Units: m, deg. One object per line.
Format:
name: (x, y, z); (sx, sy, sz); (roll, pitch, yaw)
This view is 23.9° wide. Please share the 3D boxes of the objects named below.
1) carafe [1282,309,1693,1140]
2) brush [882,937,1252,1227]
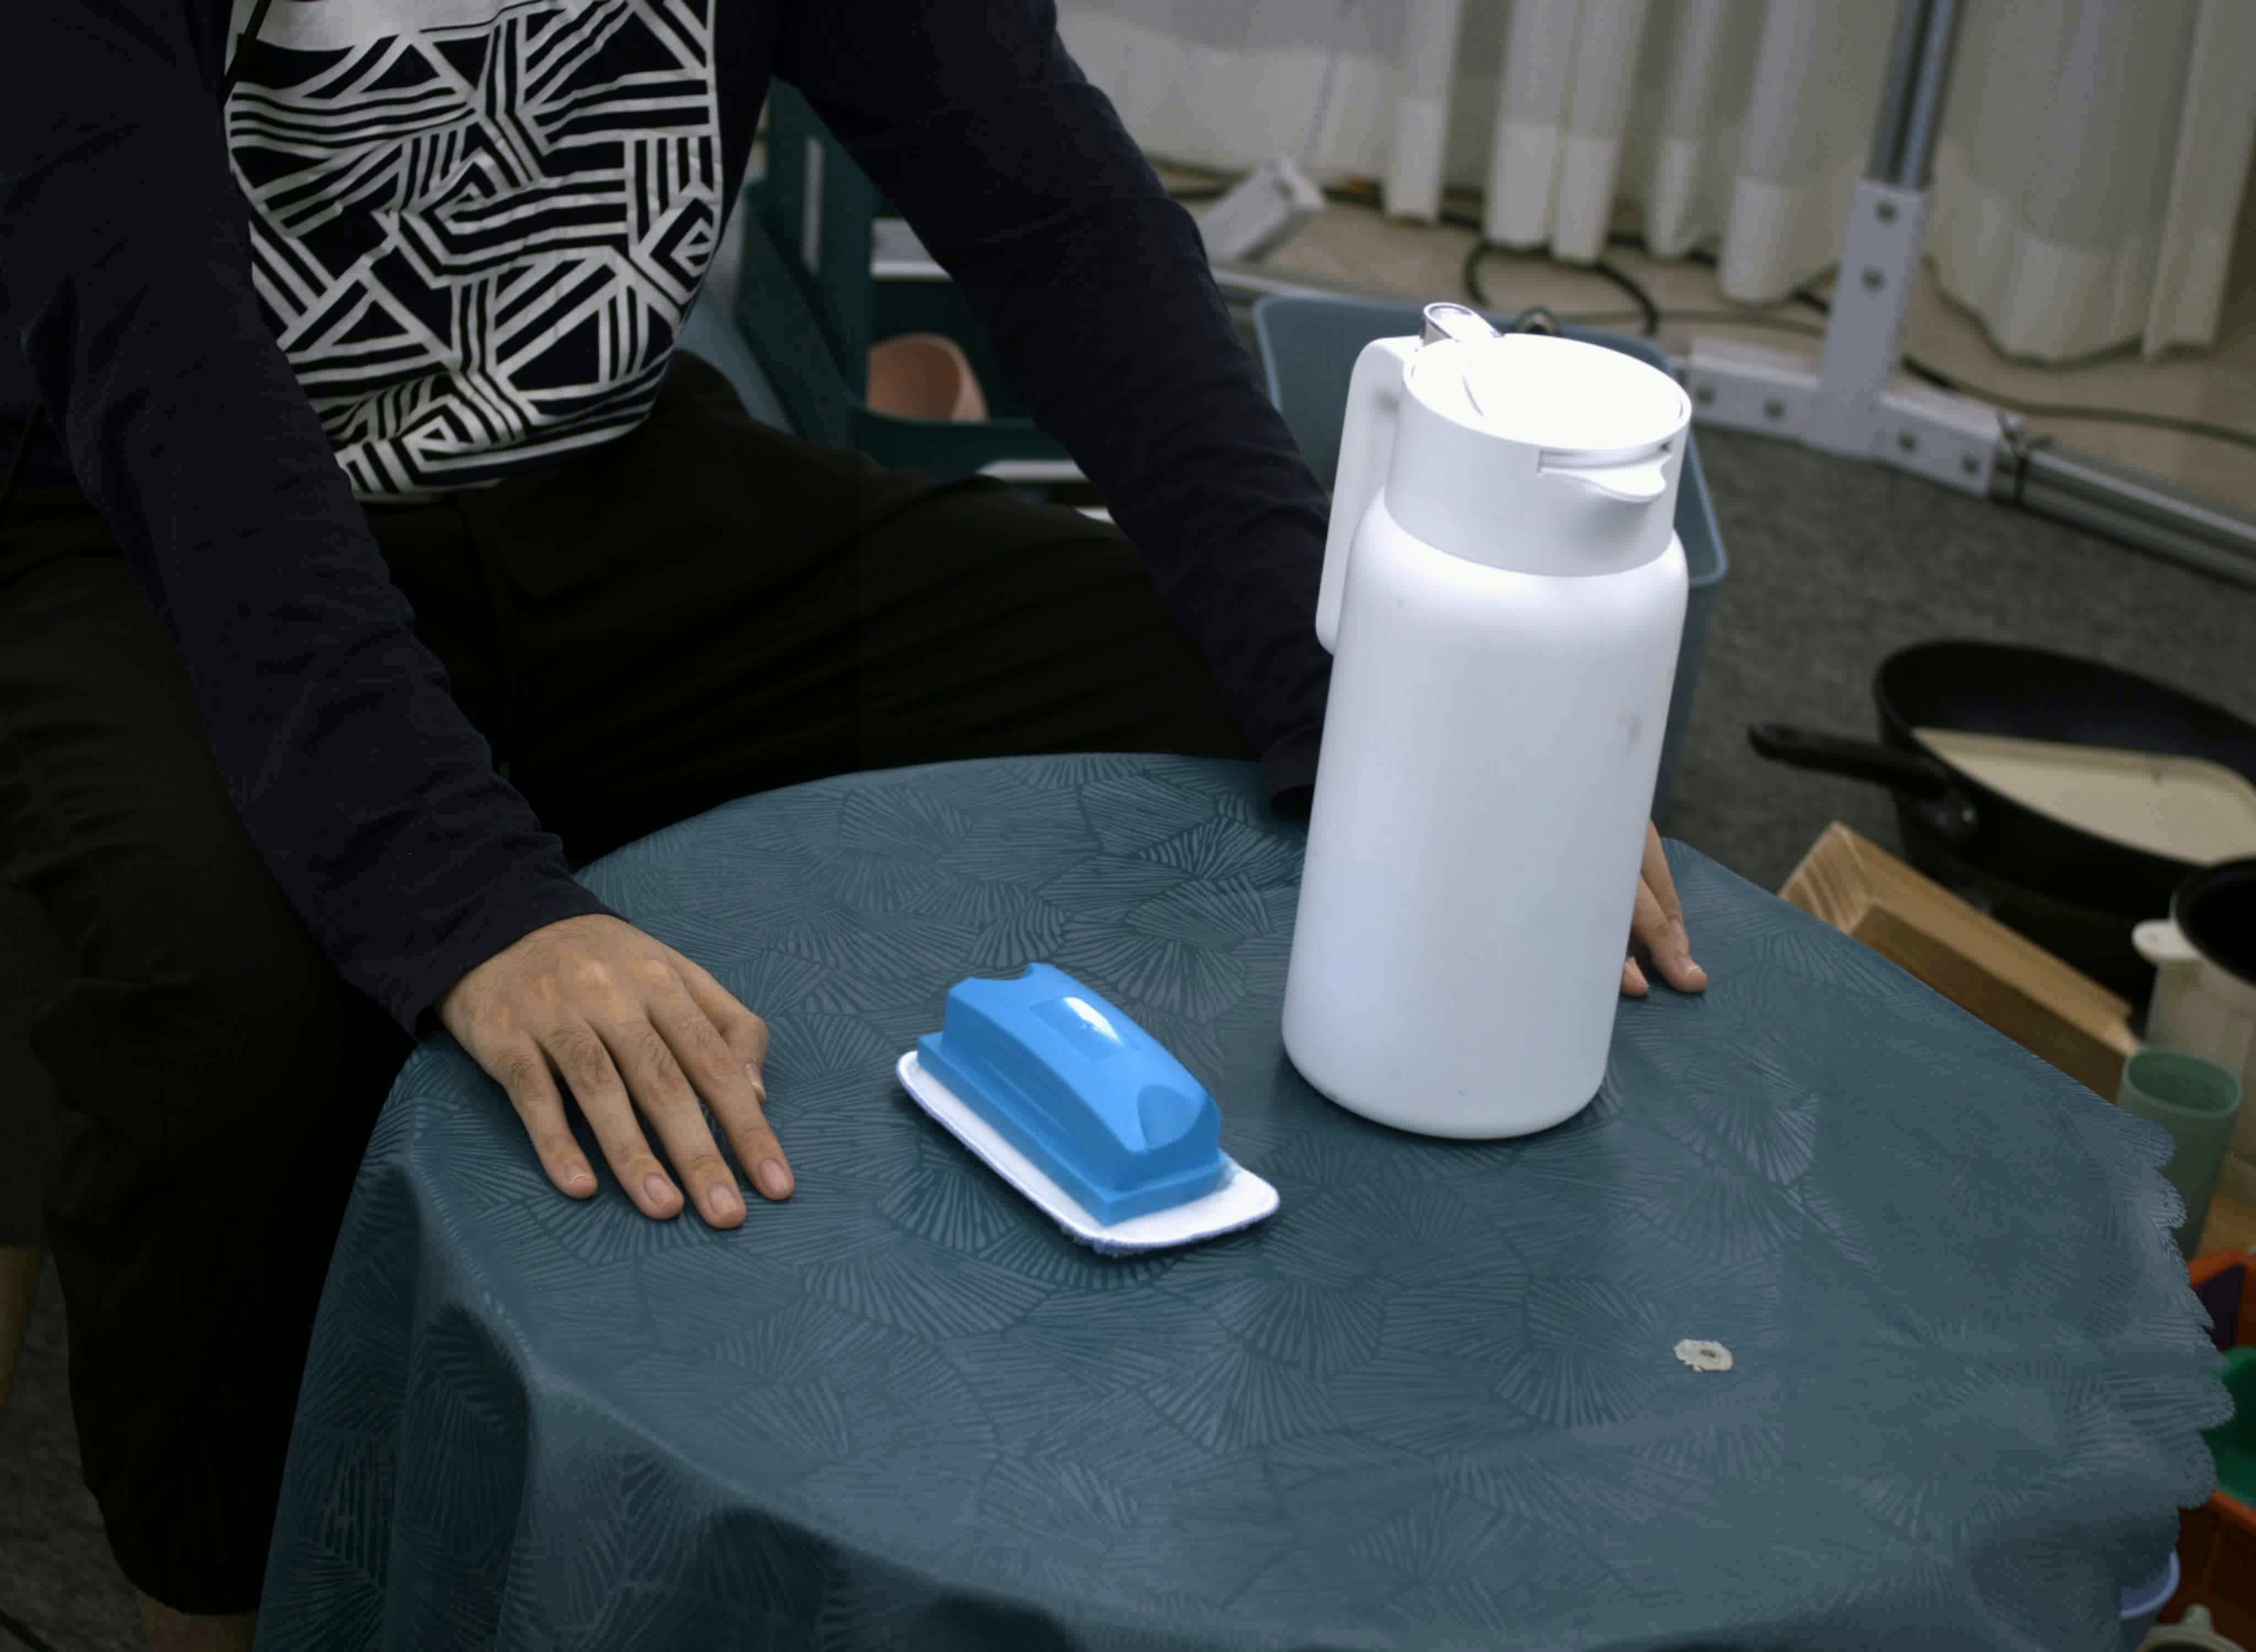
carafe: (0.117, -0.039, 1.858); (0.123, 0.268, 0.174); (-10, 30, -27)
brush: (-0.018, 0.083, 1.814); (0.083, 0.056, 0.145); (-8, 33, -32)
